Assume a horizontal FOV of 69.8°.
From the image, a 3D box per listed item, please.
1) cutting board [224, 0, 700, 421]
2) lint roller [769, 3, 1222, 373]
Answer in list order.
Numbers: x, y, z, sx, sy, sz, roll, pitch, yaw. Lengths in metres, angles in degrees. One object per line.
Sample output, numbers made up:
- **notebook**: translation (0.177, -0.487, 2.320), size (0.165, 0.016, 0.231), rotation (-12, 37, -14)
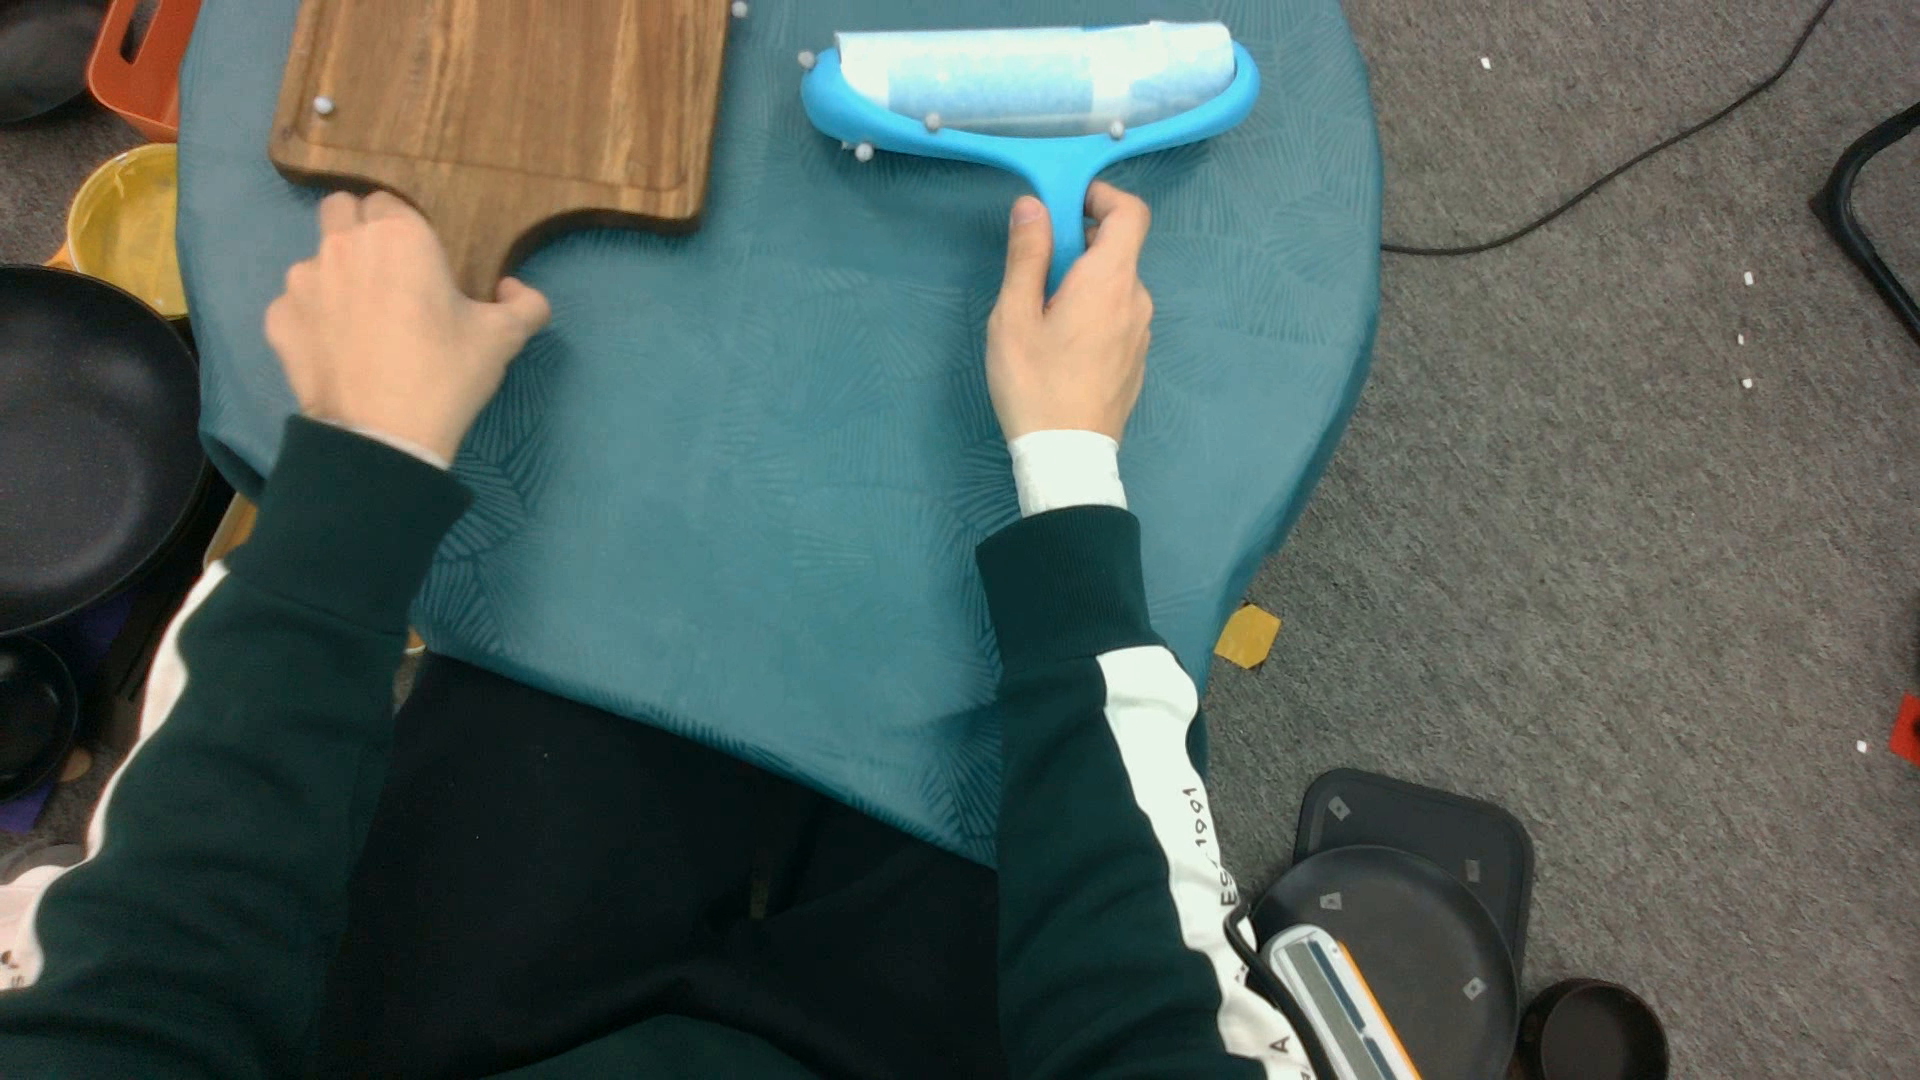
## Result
- **cutting board**: translation (-0.233, -0.225, 0.659), size (0.201, 0.023, 0.353), rotation (7, 74, -6)
- **lint roller**: translation (0.032, -0.177, 0.675), size (0.229, 0.068, 0.180), rotation (-10, 77, -12)
